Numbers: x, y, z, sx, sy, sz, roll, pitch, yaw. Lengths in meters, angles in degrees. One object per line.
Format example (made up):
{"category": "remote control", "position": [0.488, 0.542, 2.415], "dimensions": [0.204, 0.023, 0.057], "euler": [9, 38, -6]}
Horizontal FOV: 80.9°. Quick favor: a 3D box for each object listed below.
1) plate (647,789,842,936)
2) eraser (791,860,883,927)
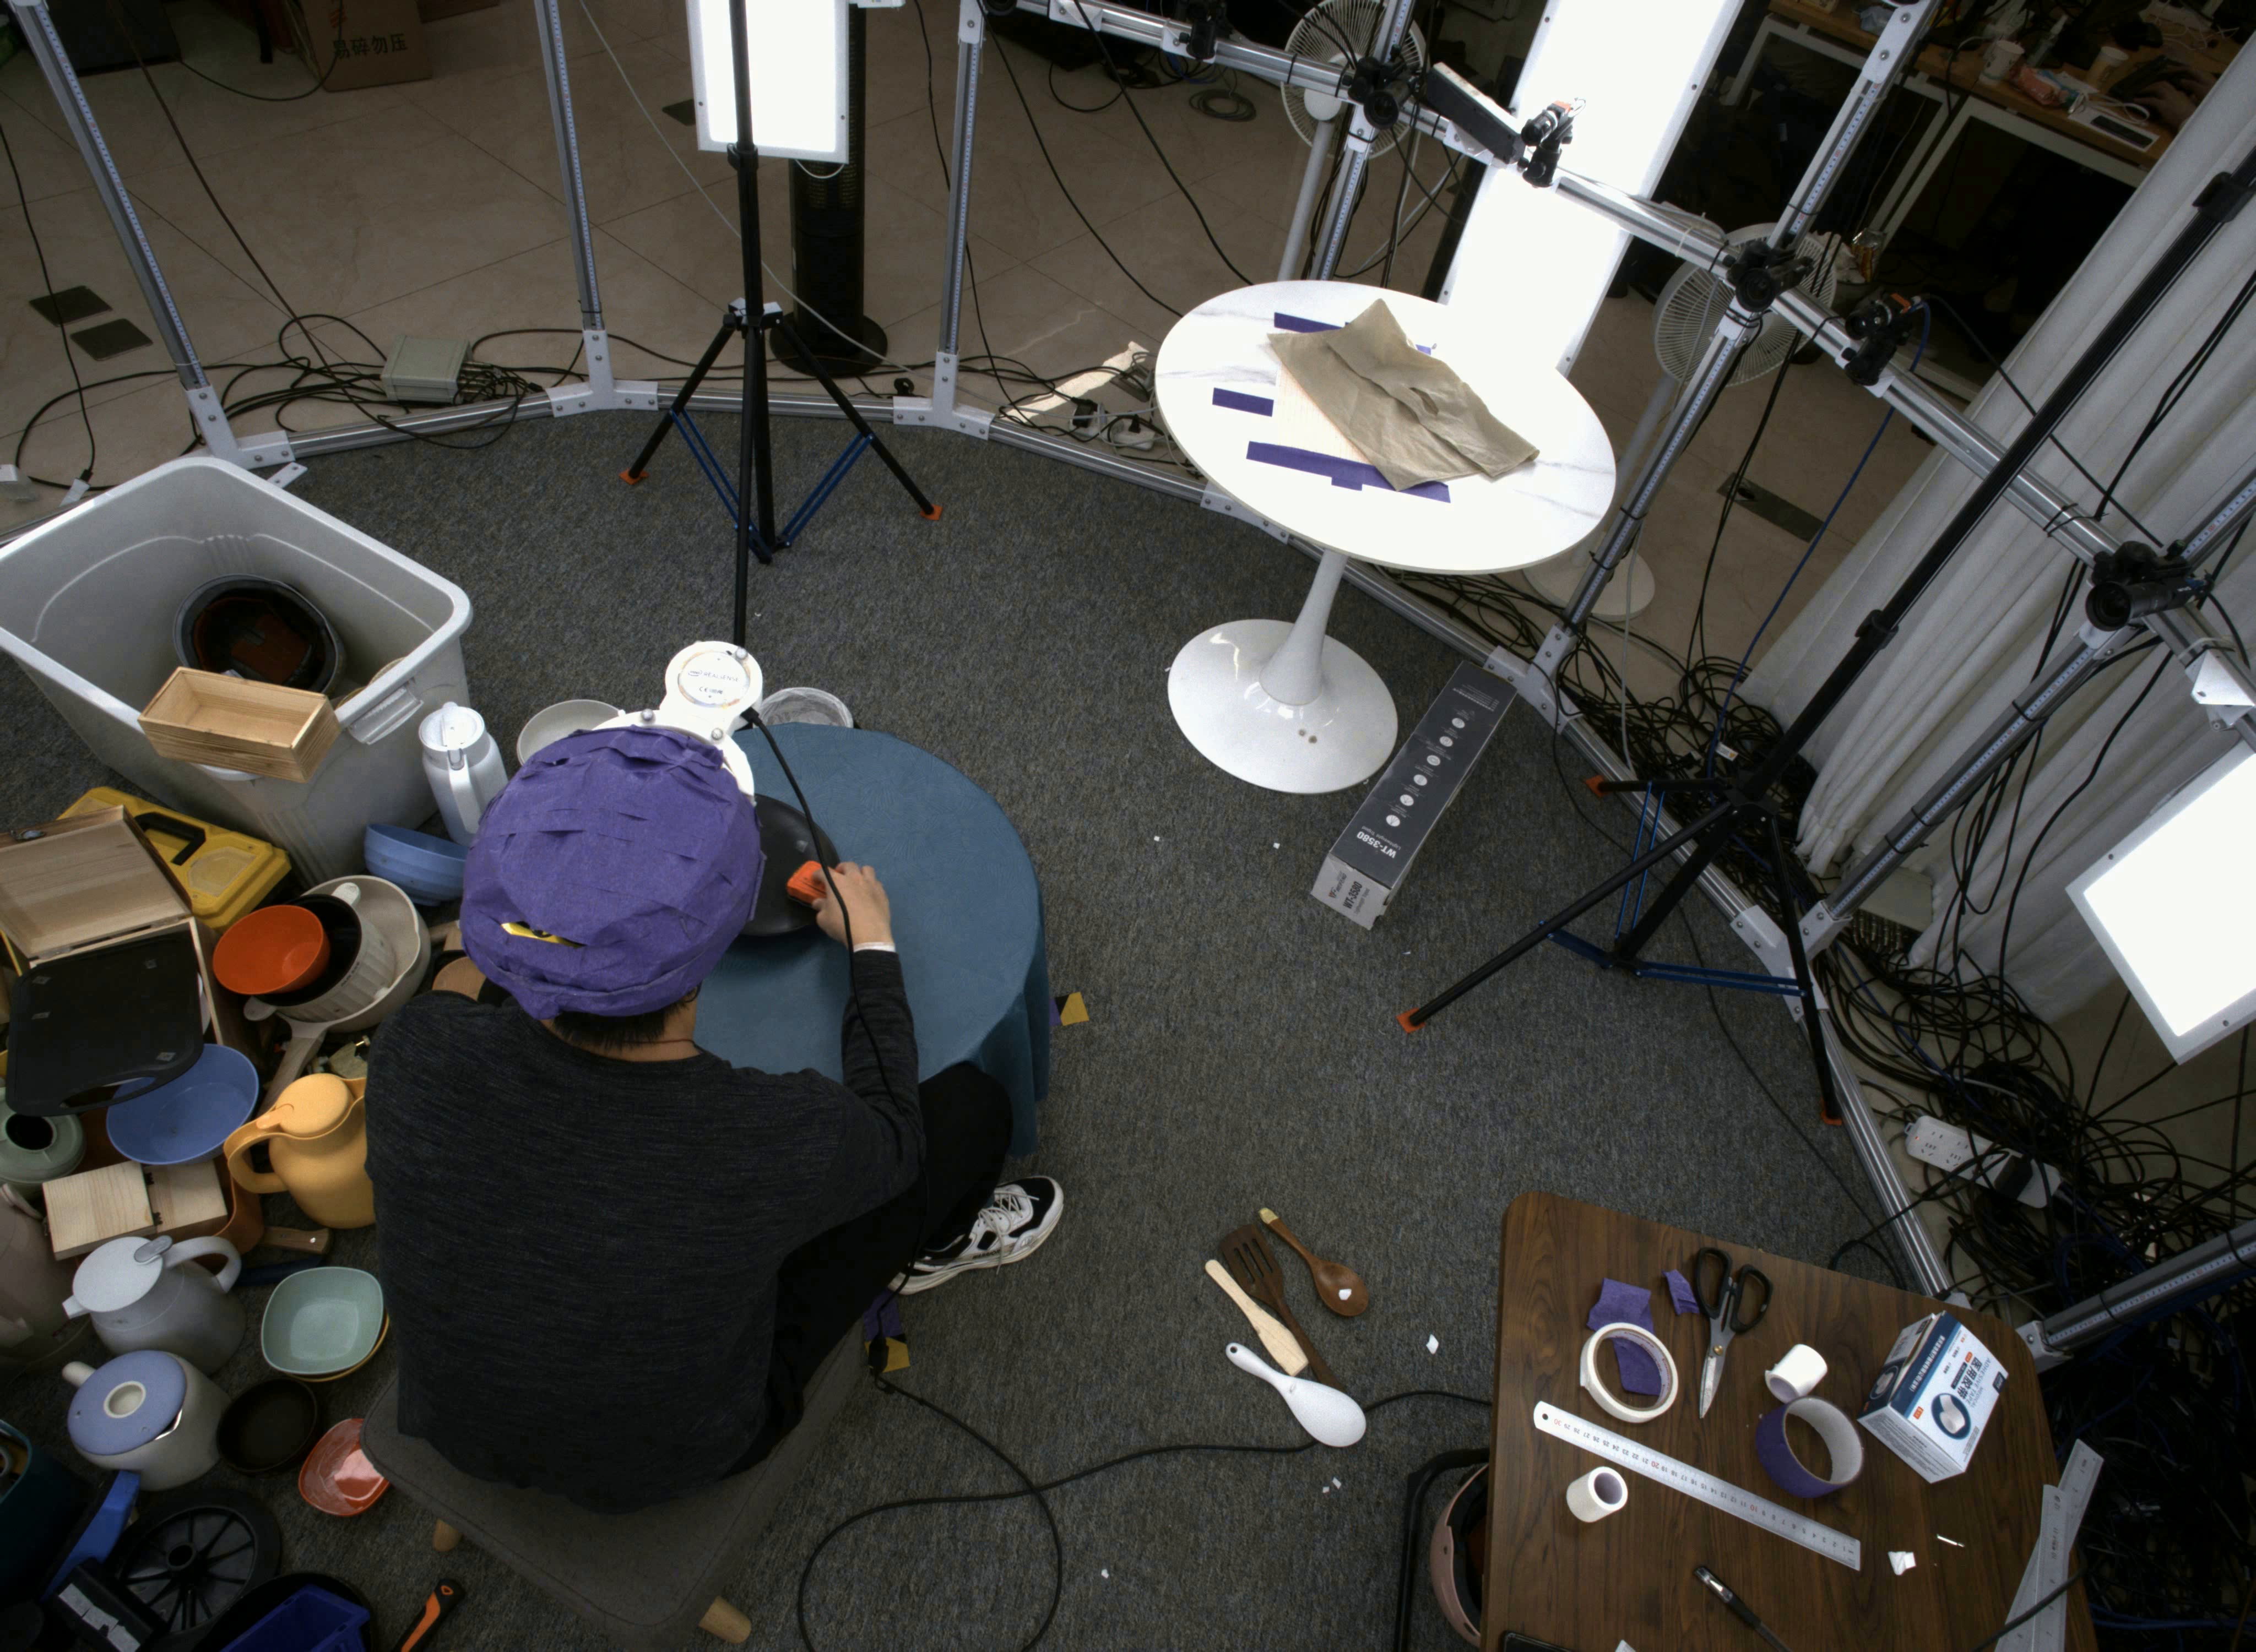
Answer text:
{"category": "plate", "position": [-0.481, 0.047, 1.622], "dimensions": [0.247, 0.024, 0.239], "euler": [20, 40, -16]}
{"category": "eraser", "position": [-0.366, 0.082, 1.628], "dimensions": [0.106, 0.023, 0.058], "euler": [22, 41, 9]}
